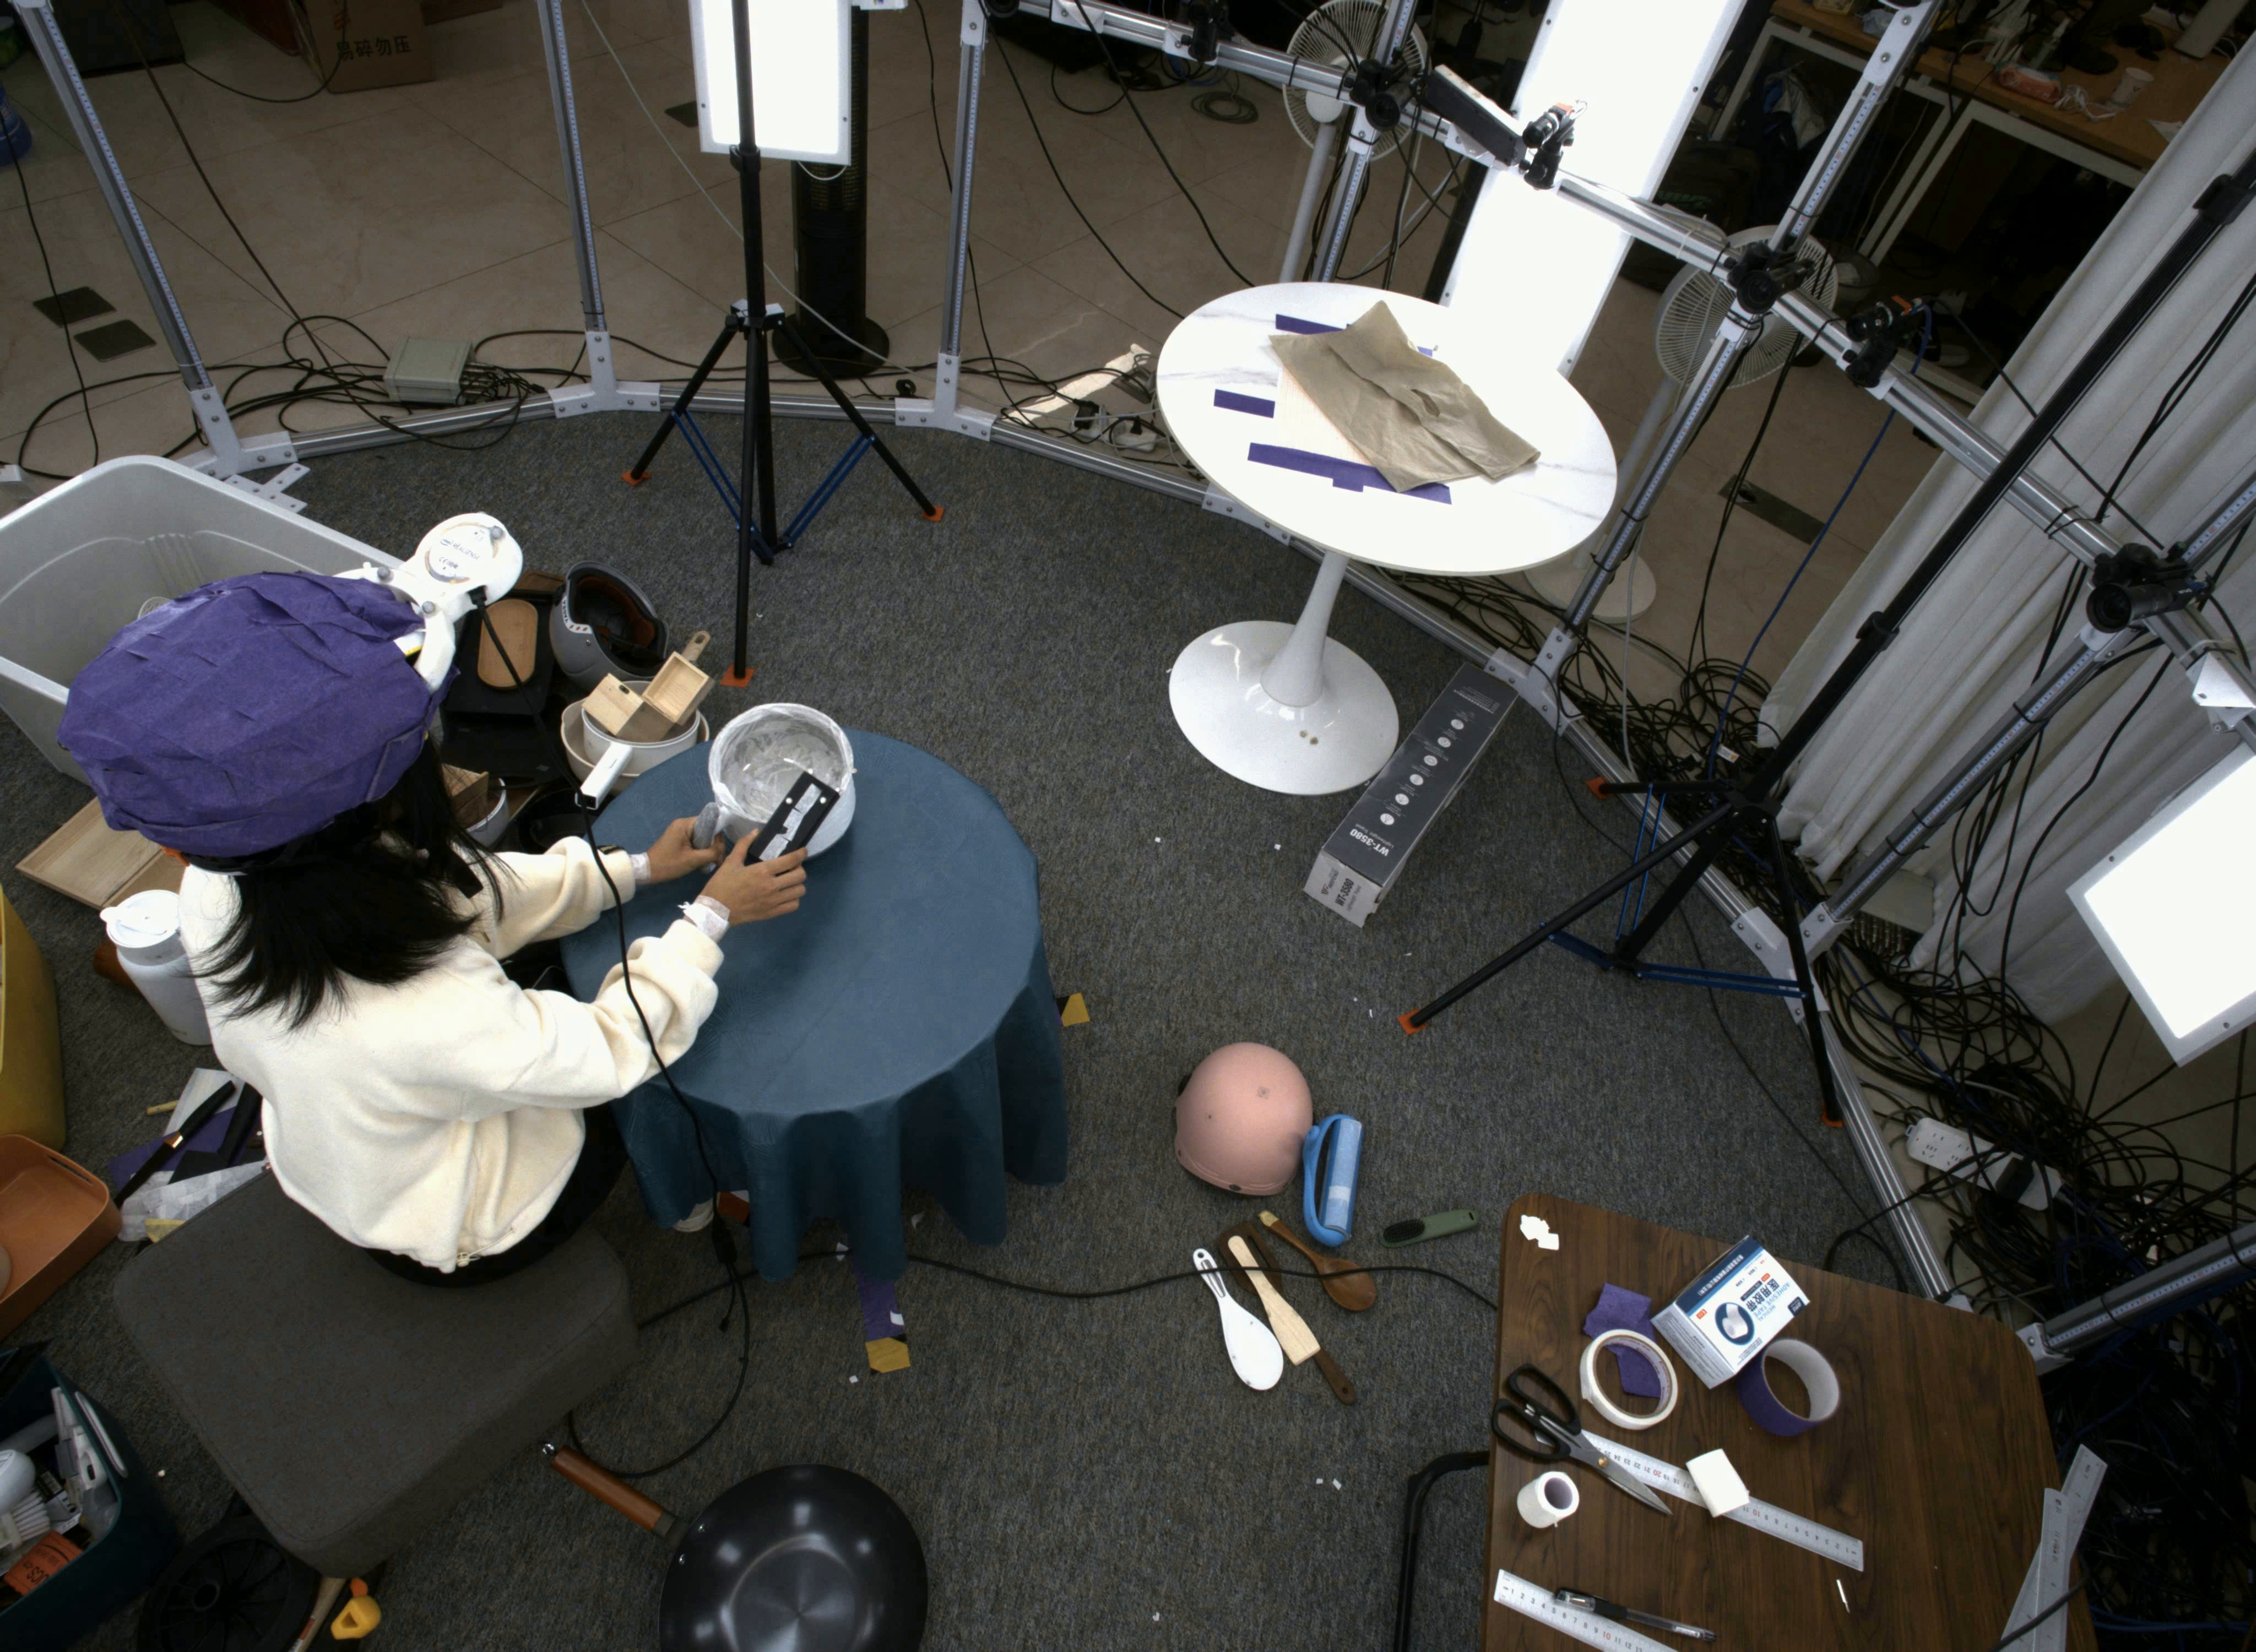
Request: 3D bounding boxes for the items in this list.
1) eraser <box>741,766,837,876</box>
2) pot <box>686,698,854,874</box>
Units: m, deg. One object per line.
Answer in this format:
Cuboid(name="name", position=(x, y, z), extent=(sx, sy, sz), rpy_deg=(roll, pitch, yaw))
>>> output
Cuboid(name="eraser", position=(-0.405, -0.007, 1.550), extent=(0.053, 0.030, 0.125), rpy_deg=(34, 74, -5))
Cuboid(name="pot", position=(-0.459, -0.036, 1.636), extent=(0.176, 0.139, 0.234), rpy_deg=(42, 62, 12))
